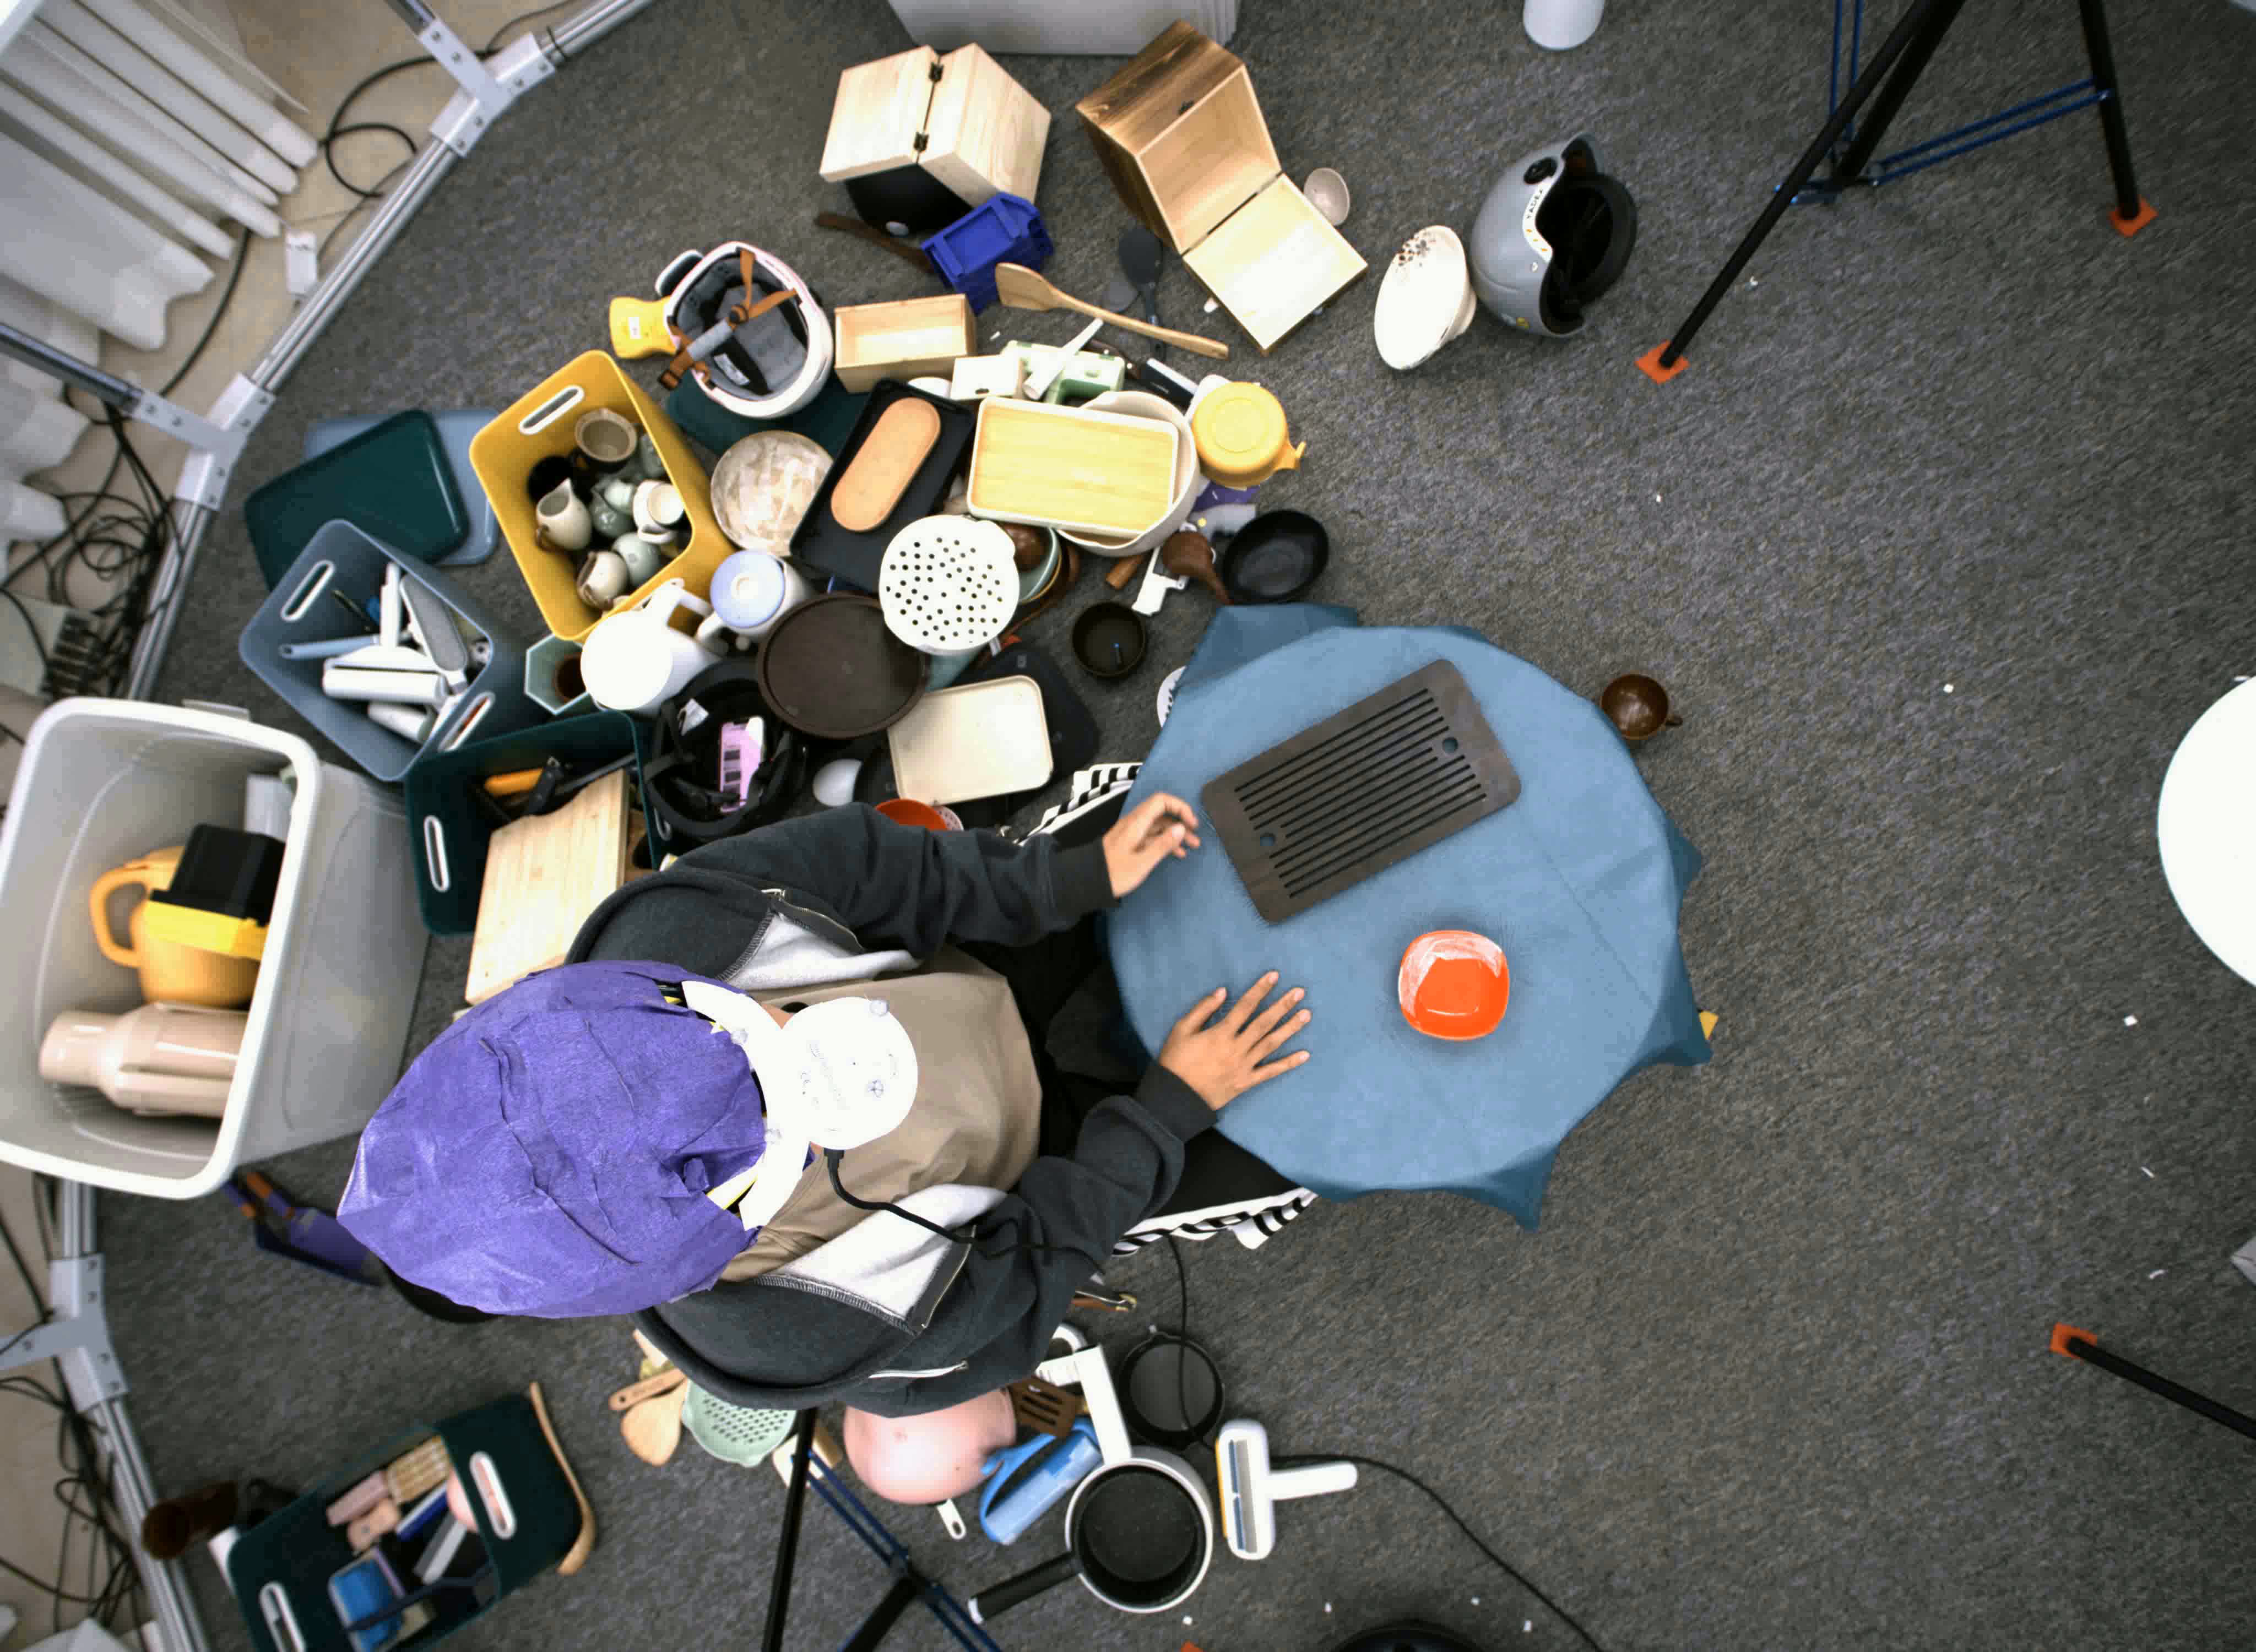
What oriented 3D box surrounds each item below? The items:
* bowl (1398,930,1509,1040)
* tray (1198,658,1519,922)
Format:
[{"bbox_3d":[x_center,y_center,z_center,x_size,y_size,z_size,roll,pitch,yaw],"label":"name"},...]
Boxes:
[{"bbox_3d":[0.332,0.160,1.415,0.119,0.051,0.118,-1,87,9],"label":"bowl"},{"bbox_3d":[0.242,-0.039,1.461,0.308,0.018,0.169,-28,83,8],"label":"tray"}]
